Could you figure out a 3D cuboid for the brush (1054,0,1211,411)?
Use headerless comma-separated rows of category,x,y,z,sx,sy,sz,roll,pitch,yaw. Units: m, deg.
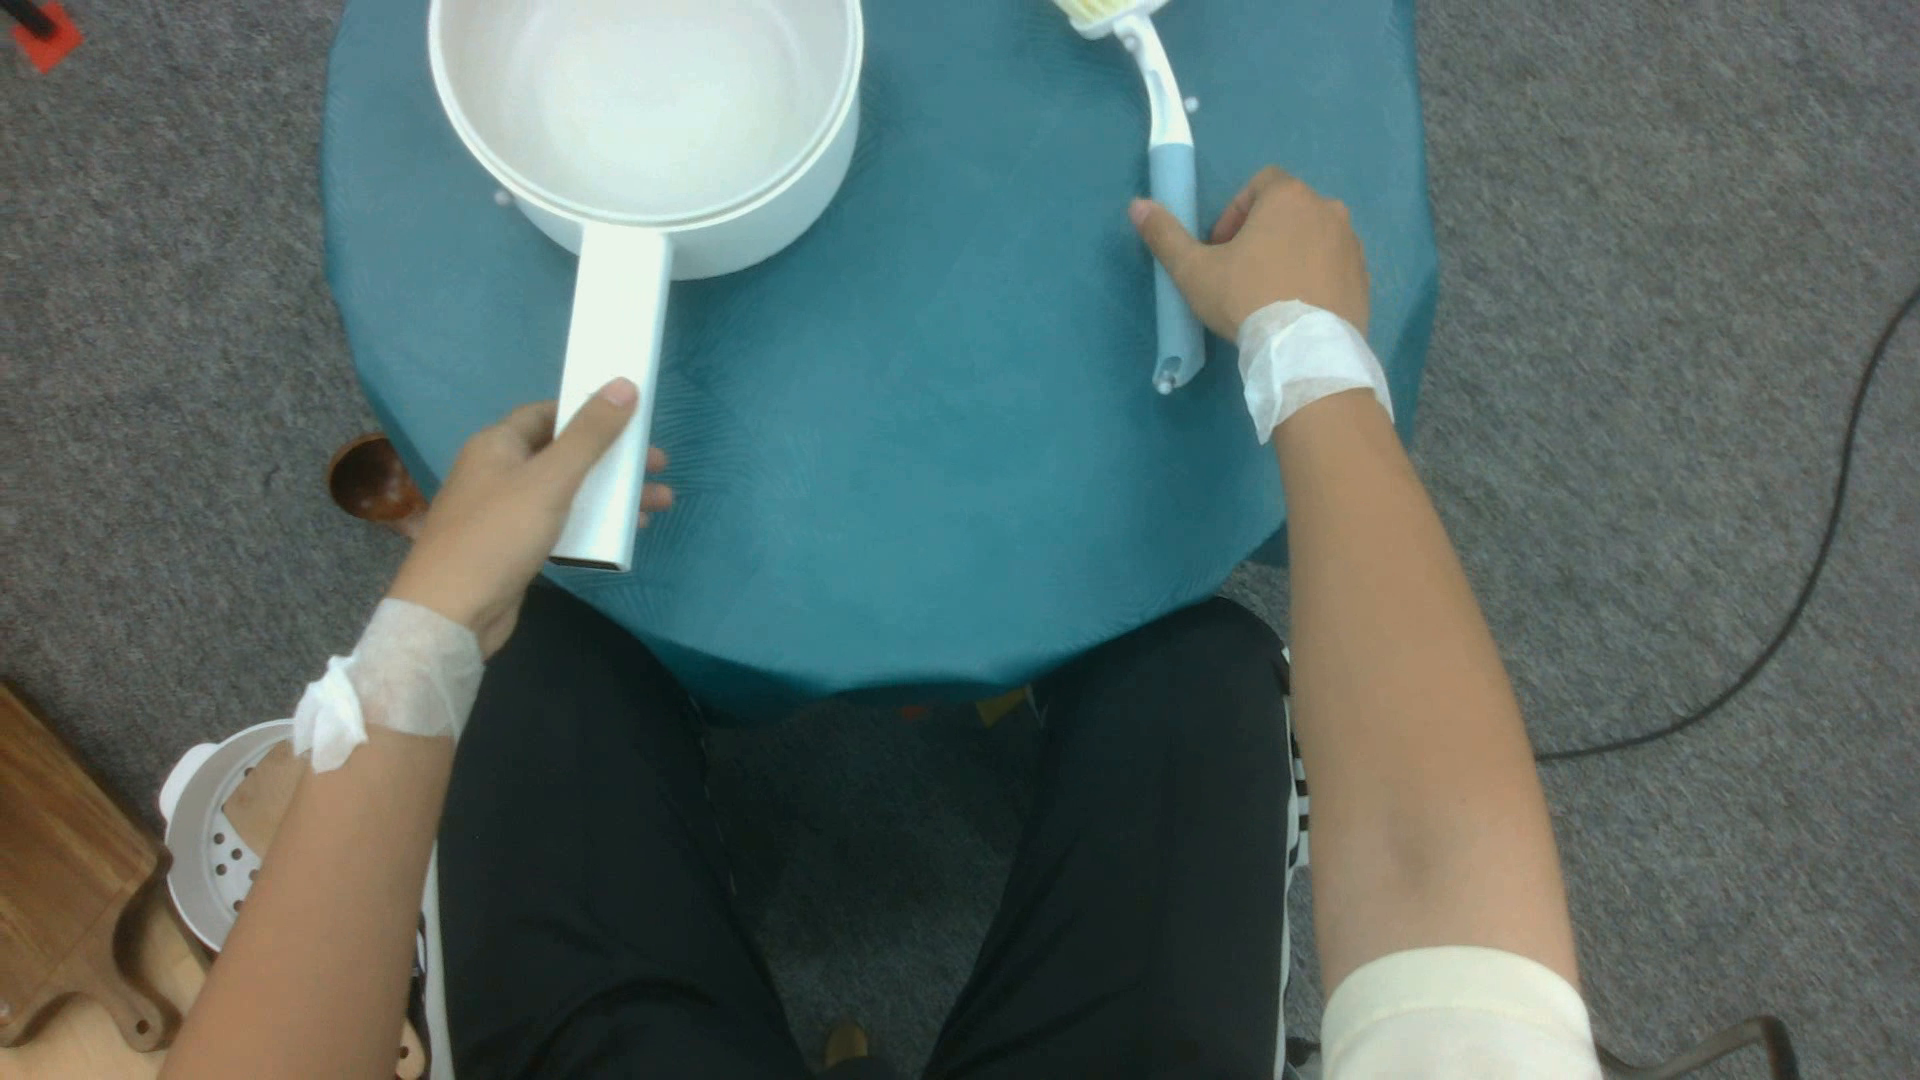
brush,0.095,-0.231,0.733,0.084,0.083,0.326,1,78,-8

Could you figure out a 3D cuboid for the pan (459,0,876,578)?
pan,-0.151,-0.153,0.699,0.201,0.102,0.355,6,80,-2
